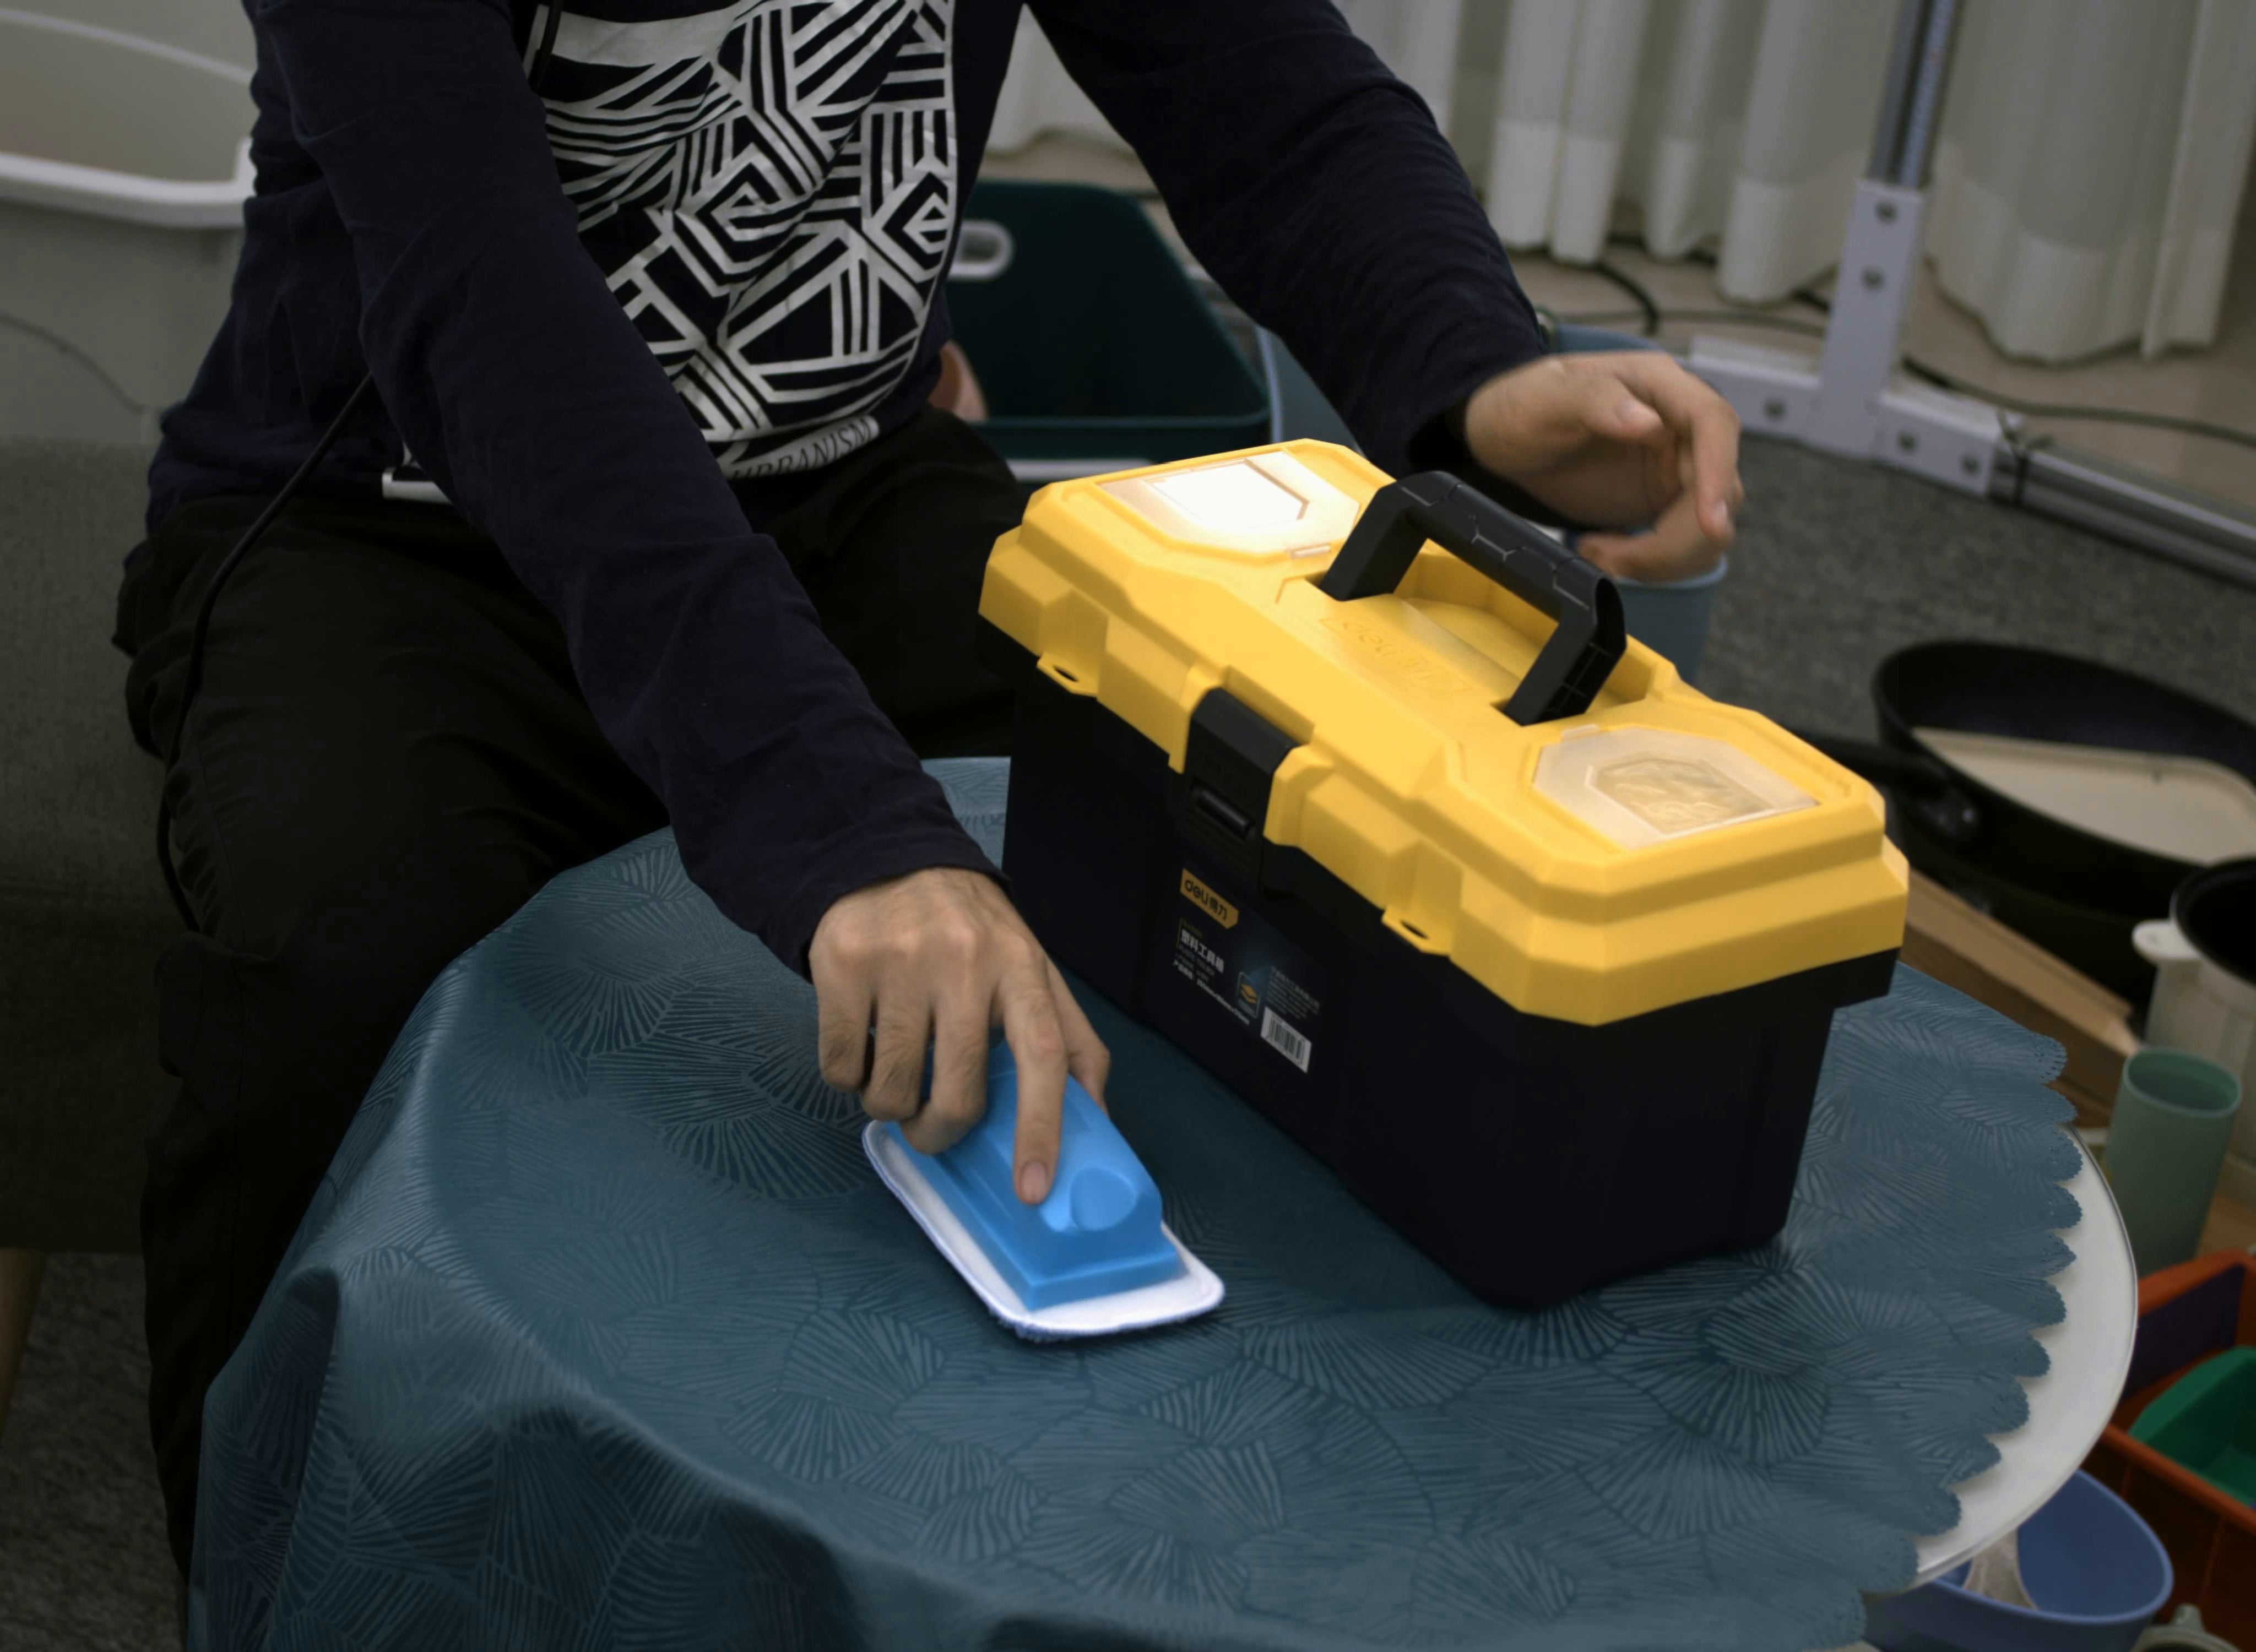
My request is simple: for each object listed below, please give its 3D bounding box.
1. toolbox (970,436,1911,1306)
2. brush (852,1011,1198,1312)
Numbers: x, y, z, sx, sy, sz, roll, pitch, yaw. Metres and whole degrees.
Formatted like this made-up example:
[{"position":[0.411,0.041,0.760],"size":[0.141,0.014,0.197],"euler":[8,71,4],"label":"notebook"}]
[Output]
[{"position":[0.097,0.009,1.860],"size":[0.180,0.172,0.354],"euler":[-12,32,-33],"label":"toolbox"},{"position":[-0.032,0.107,1.765],"size":[0.083,0.056,0.145],"euler":[-3,31,-24],"label":"brush"}]
